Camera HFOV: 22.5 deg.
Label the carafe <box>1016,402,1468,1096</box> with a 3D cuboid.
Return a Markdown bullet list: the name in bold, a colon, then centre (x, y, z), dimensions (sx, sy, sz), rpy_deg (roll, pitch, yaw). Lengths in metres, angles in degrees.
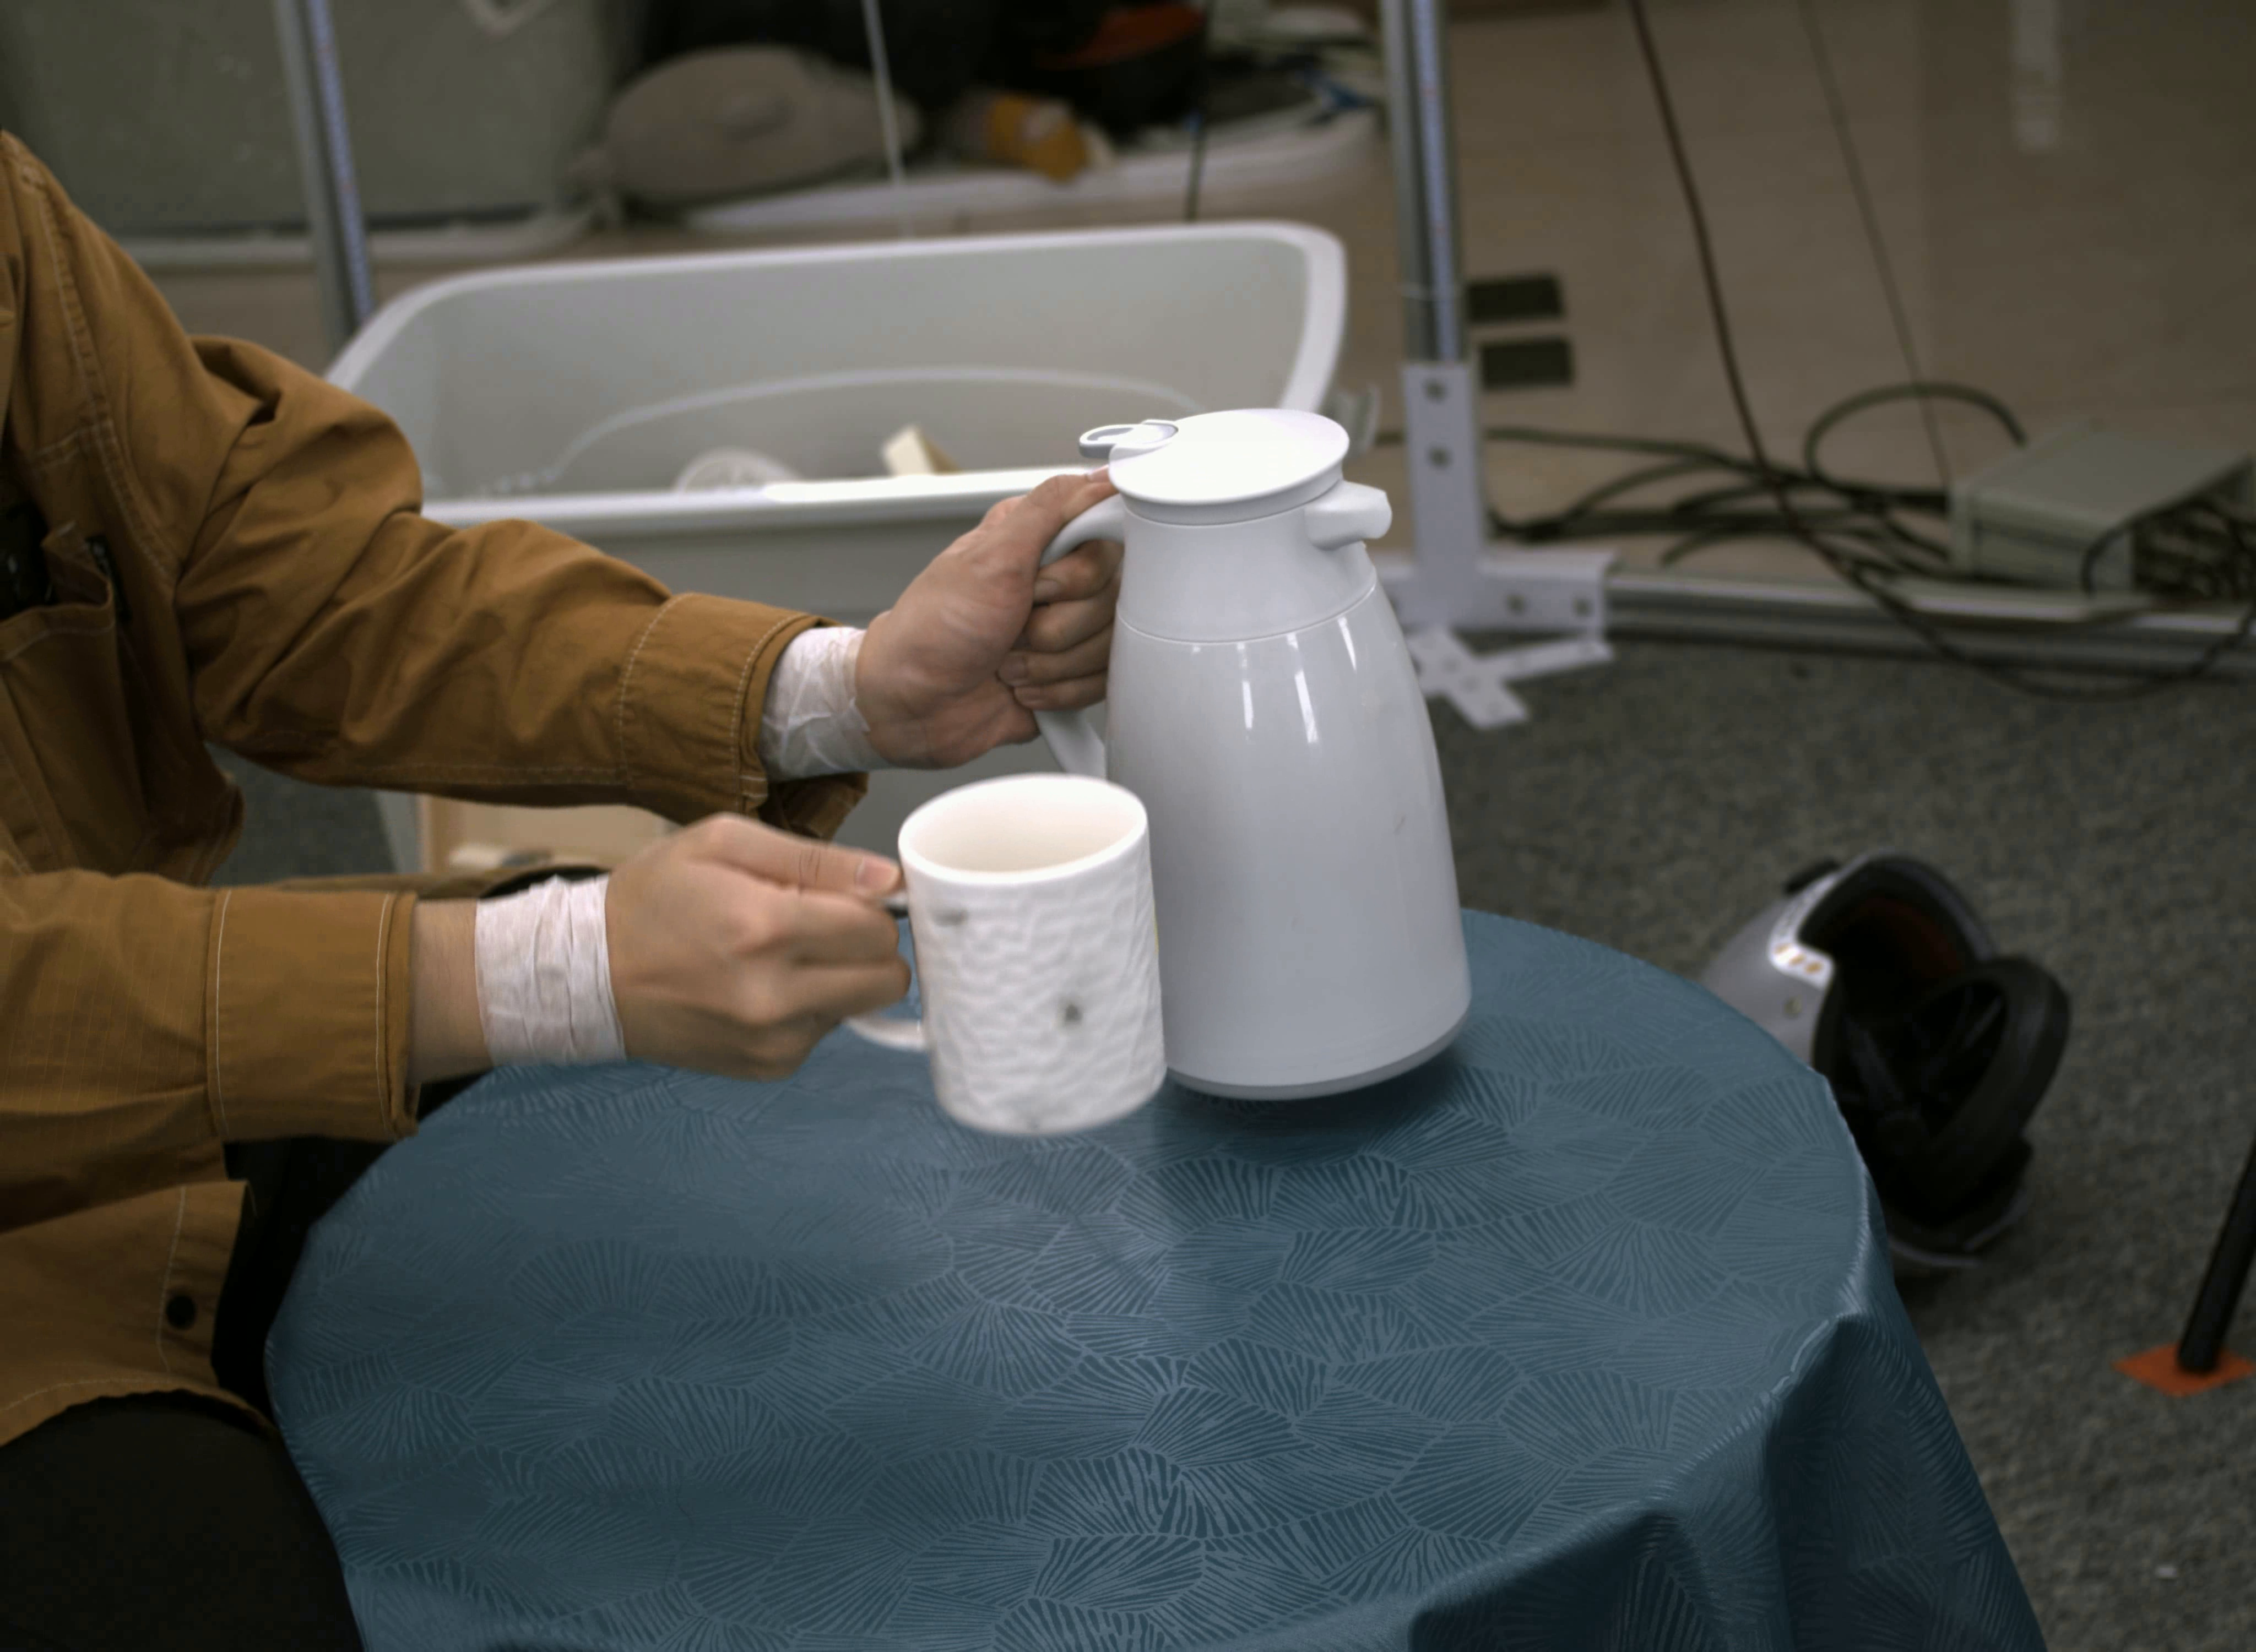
- **carafe**: centre (0.036, -0.038, 2.172), dimensions (0.167, 0.252, 0.131), rpy_deg (8, 31, 30)

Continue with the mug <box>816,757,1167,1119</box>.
- **mug**: centre (-0.048, 0.041, 1.968), dimensions (0.118, 0.103, 0.084), rpy_deg (-7, 25, -2)
